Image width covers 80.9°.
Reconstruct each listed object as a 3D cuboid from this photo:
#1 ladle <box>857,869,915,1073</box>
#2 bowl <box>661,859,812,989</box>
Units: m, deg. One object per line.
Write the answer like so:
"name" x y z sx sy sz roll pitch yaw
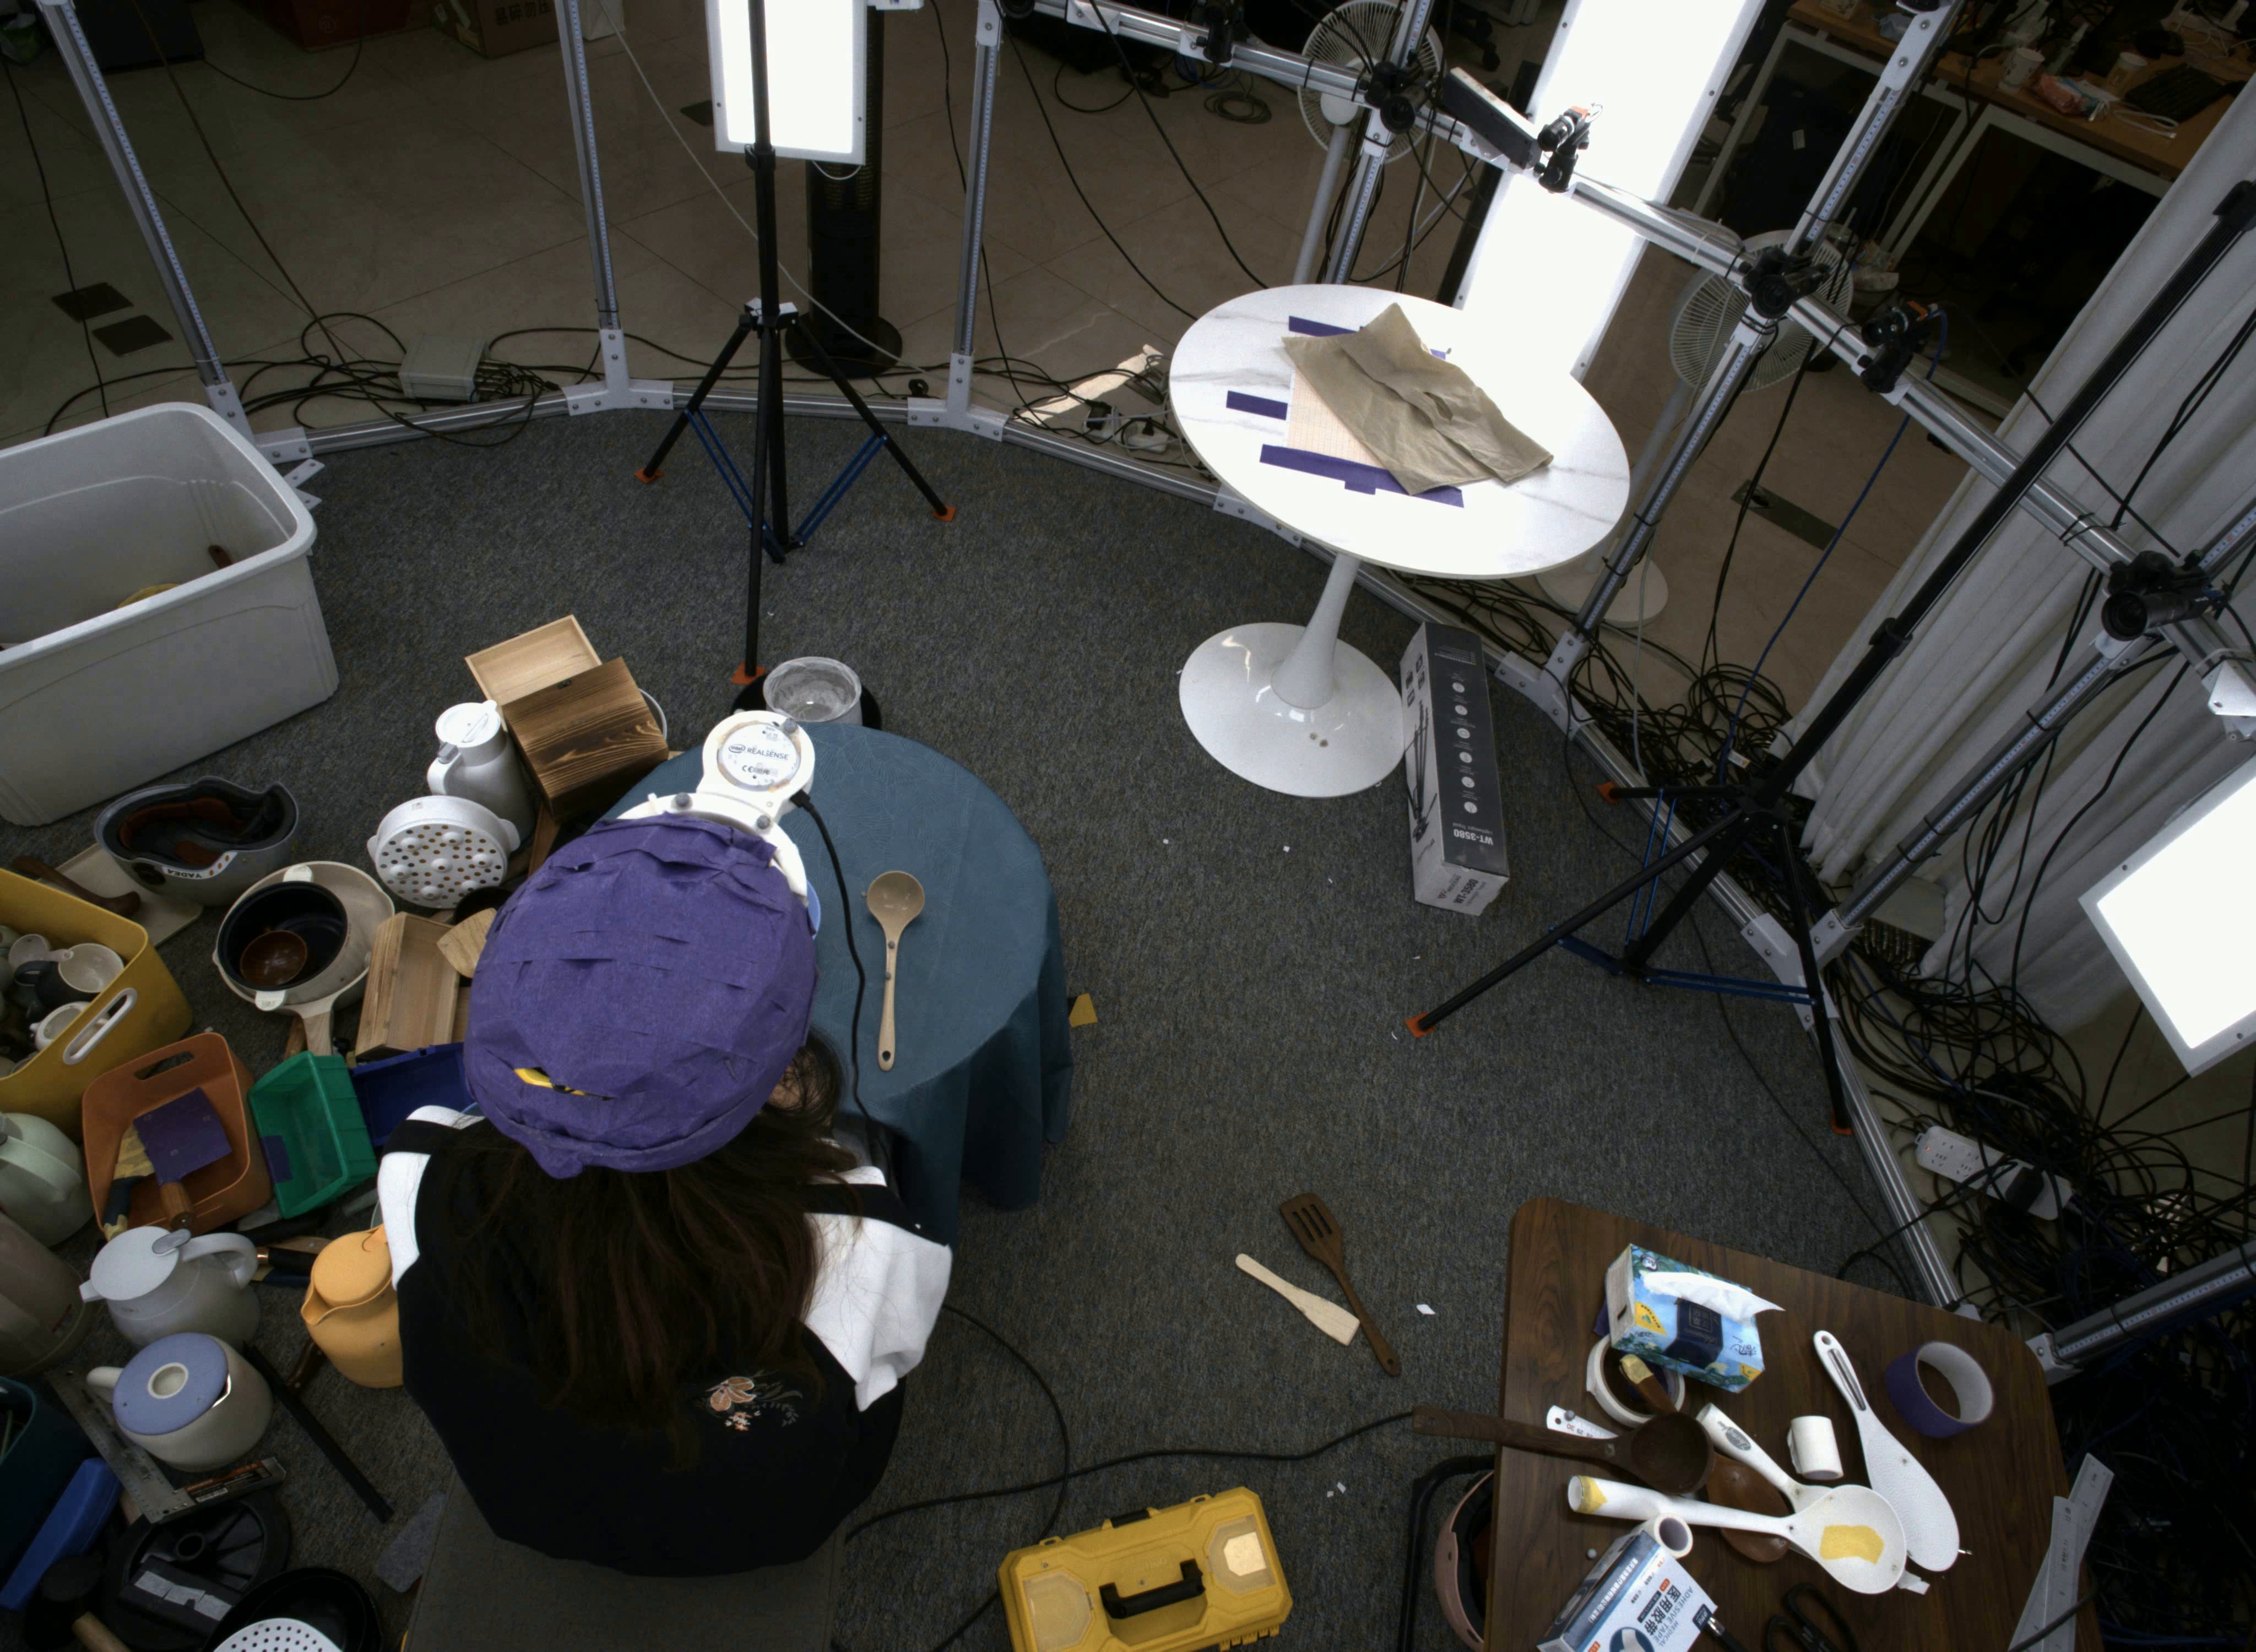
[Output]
"ladle" -0.294 0.166 1.582 0.072 0.074 0.249 3 53 -15
"bowl" -0.471 0.128 1.566 0.175 0.072 0.173 7 52 -8
